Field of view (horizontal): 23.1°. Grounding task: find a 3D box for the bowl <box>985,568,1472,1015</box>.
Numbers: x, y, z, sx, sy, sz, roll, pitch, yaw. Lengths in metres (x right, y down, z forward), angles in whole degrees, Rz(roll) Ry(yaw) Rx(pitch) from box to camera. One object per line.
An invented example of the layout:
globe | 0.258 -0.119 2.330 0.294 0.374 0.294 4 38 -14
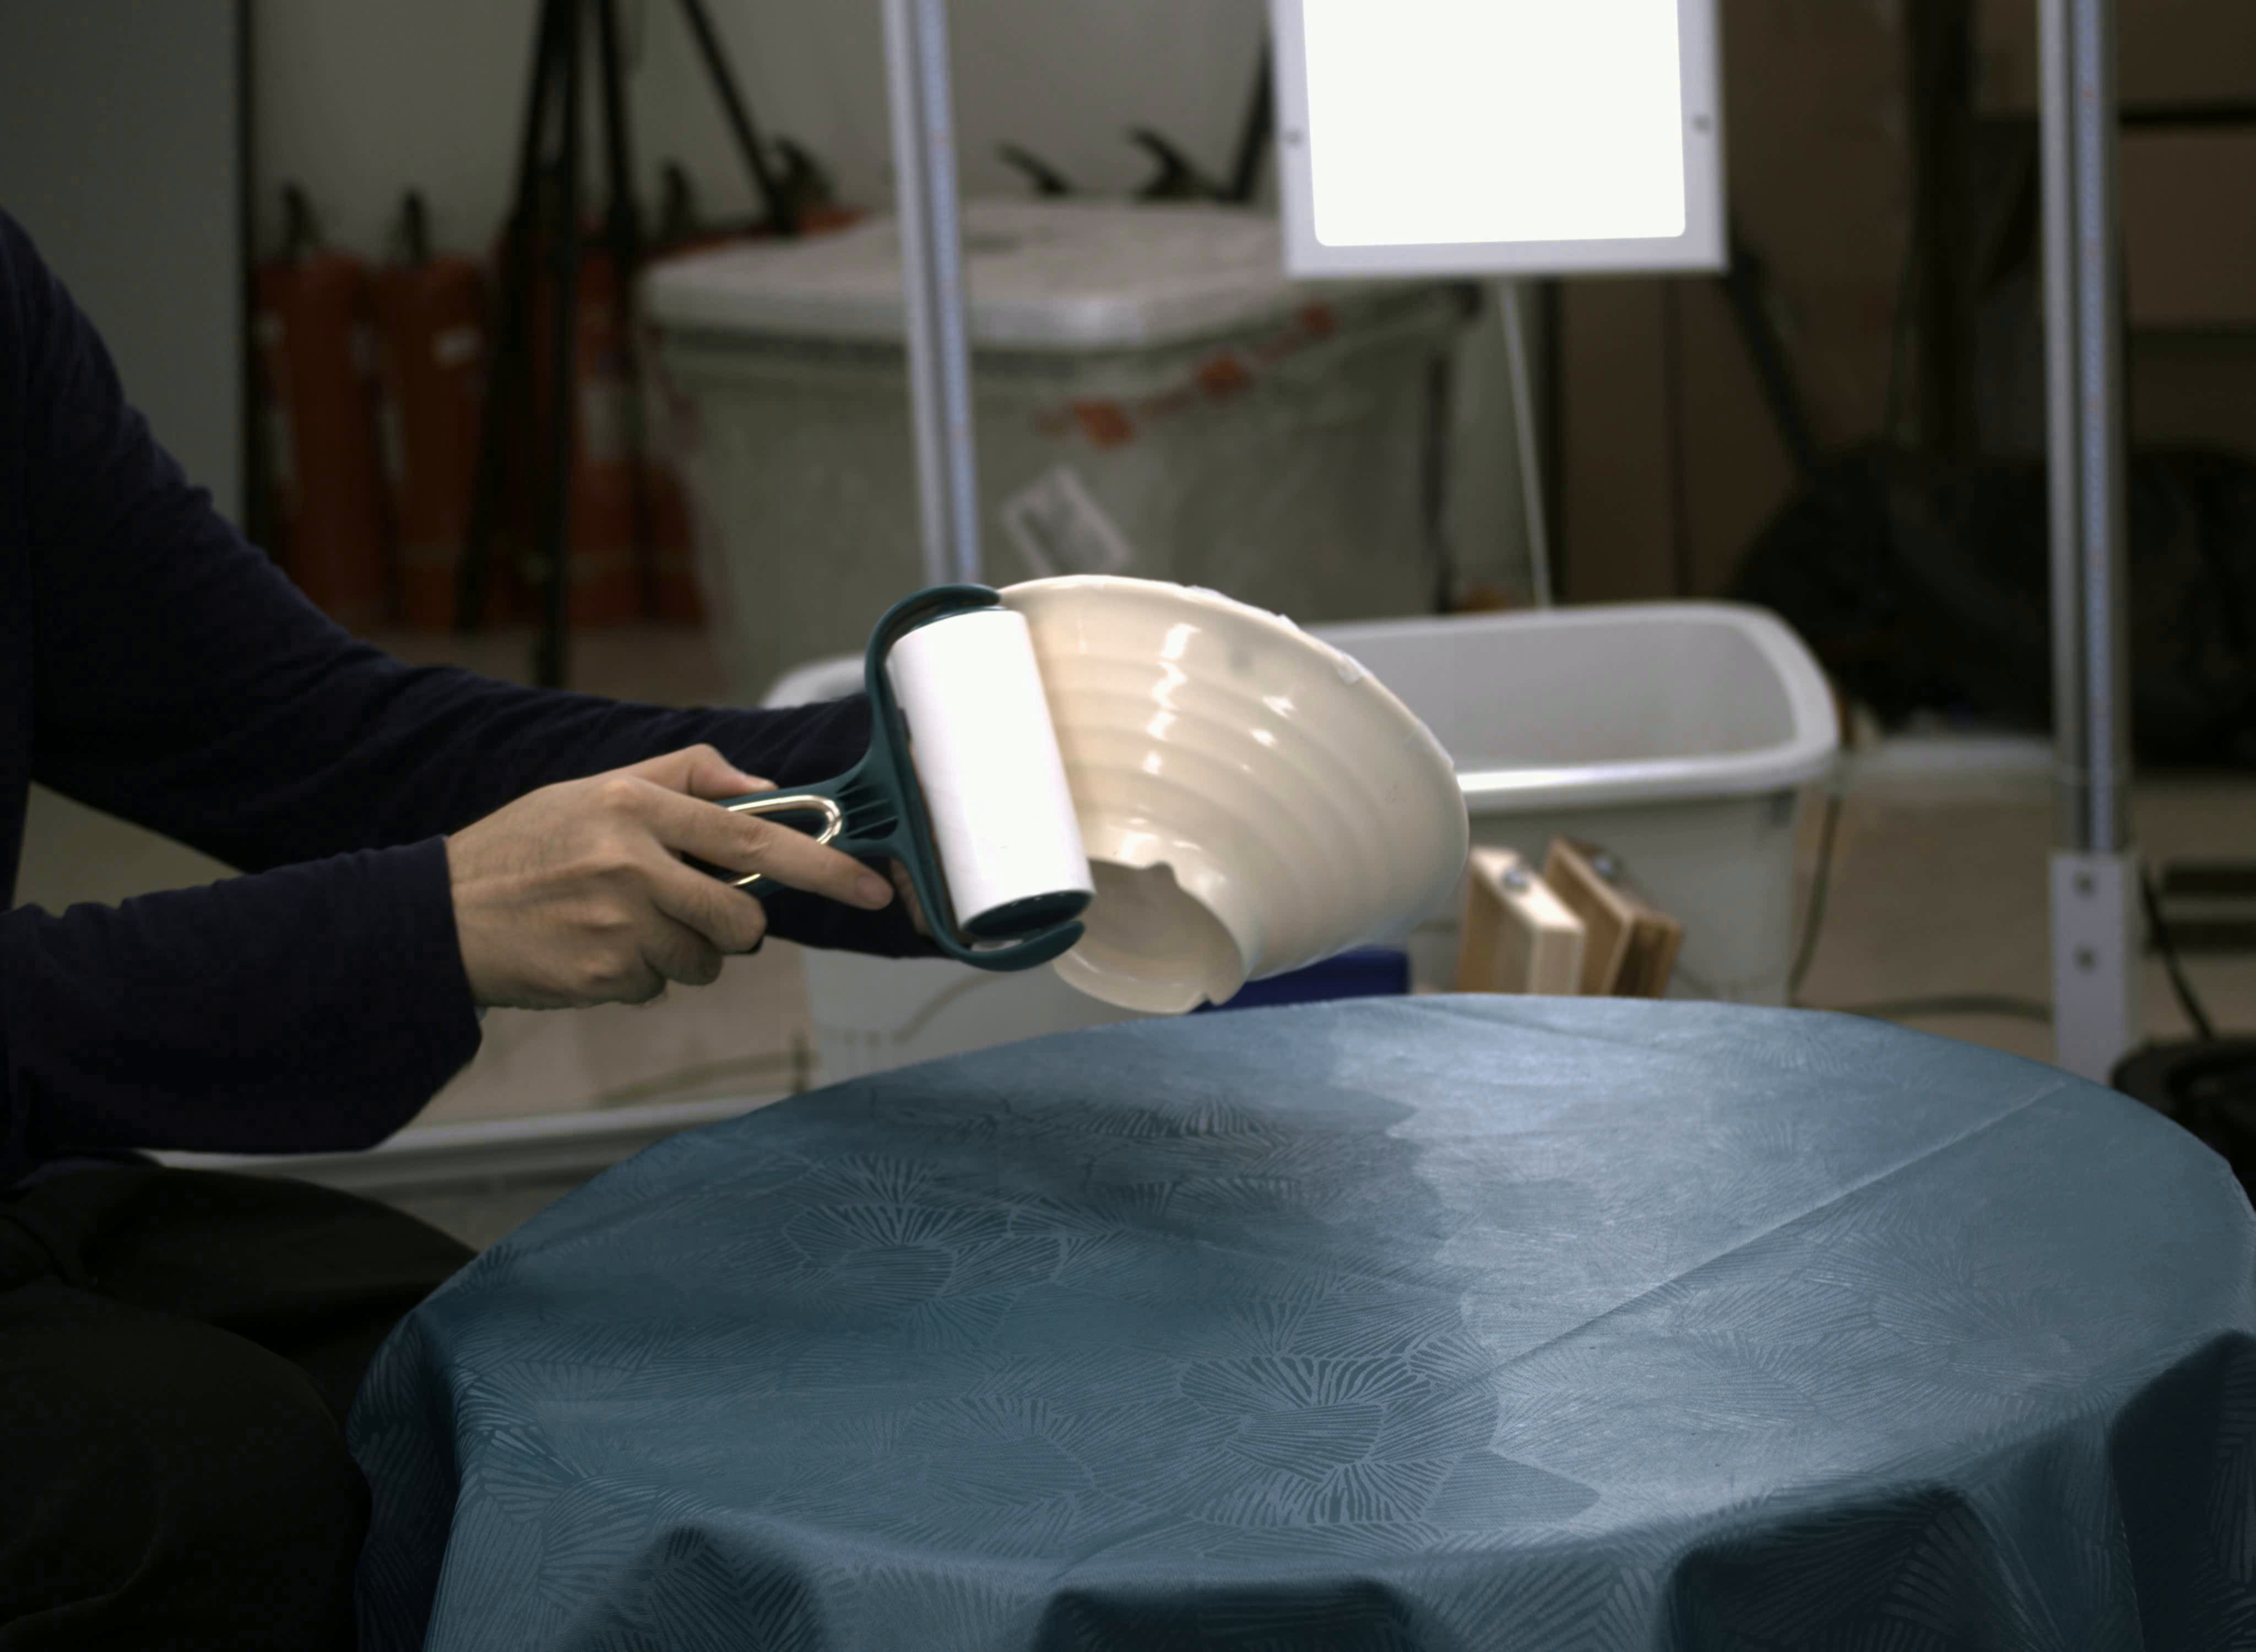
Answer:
bowl | 0.012 0.008 1.886 0.207 0.203 0.077 2 50 23

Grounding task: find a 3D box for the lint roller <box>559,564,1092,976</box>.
lint roller | -0.110 0.002 1.844 0.181 0.135 0.048 -17 -14 7
